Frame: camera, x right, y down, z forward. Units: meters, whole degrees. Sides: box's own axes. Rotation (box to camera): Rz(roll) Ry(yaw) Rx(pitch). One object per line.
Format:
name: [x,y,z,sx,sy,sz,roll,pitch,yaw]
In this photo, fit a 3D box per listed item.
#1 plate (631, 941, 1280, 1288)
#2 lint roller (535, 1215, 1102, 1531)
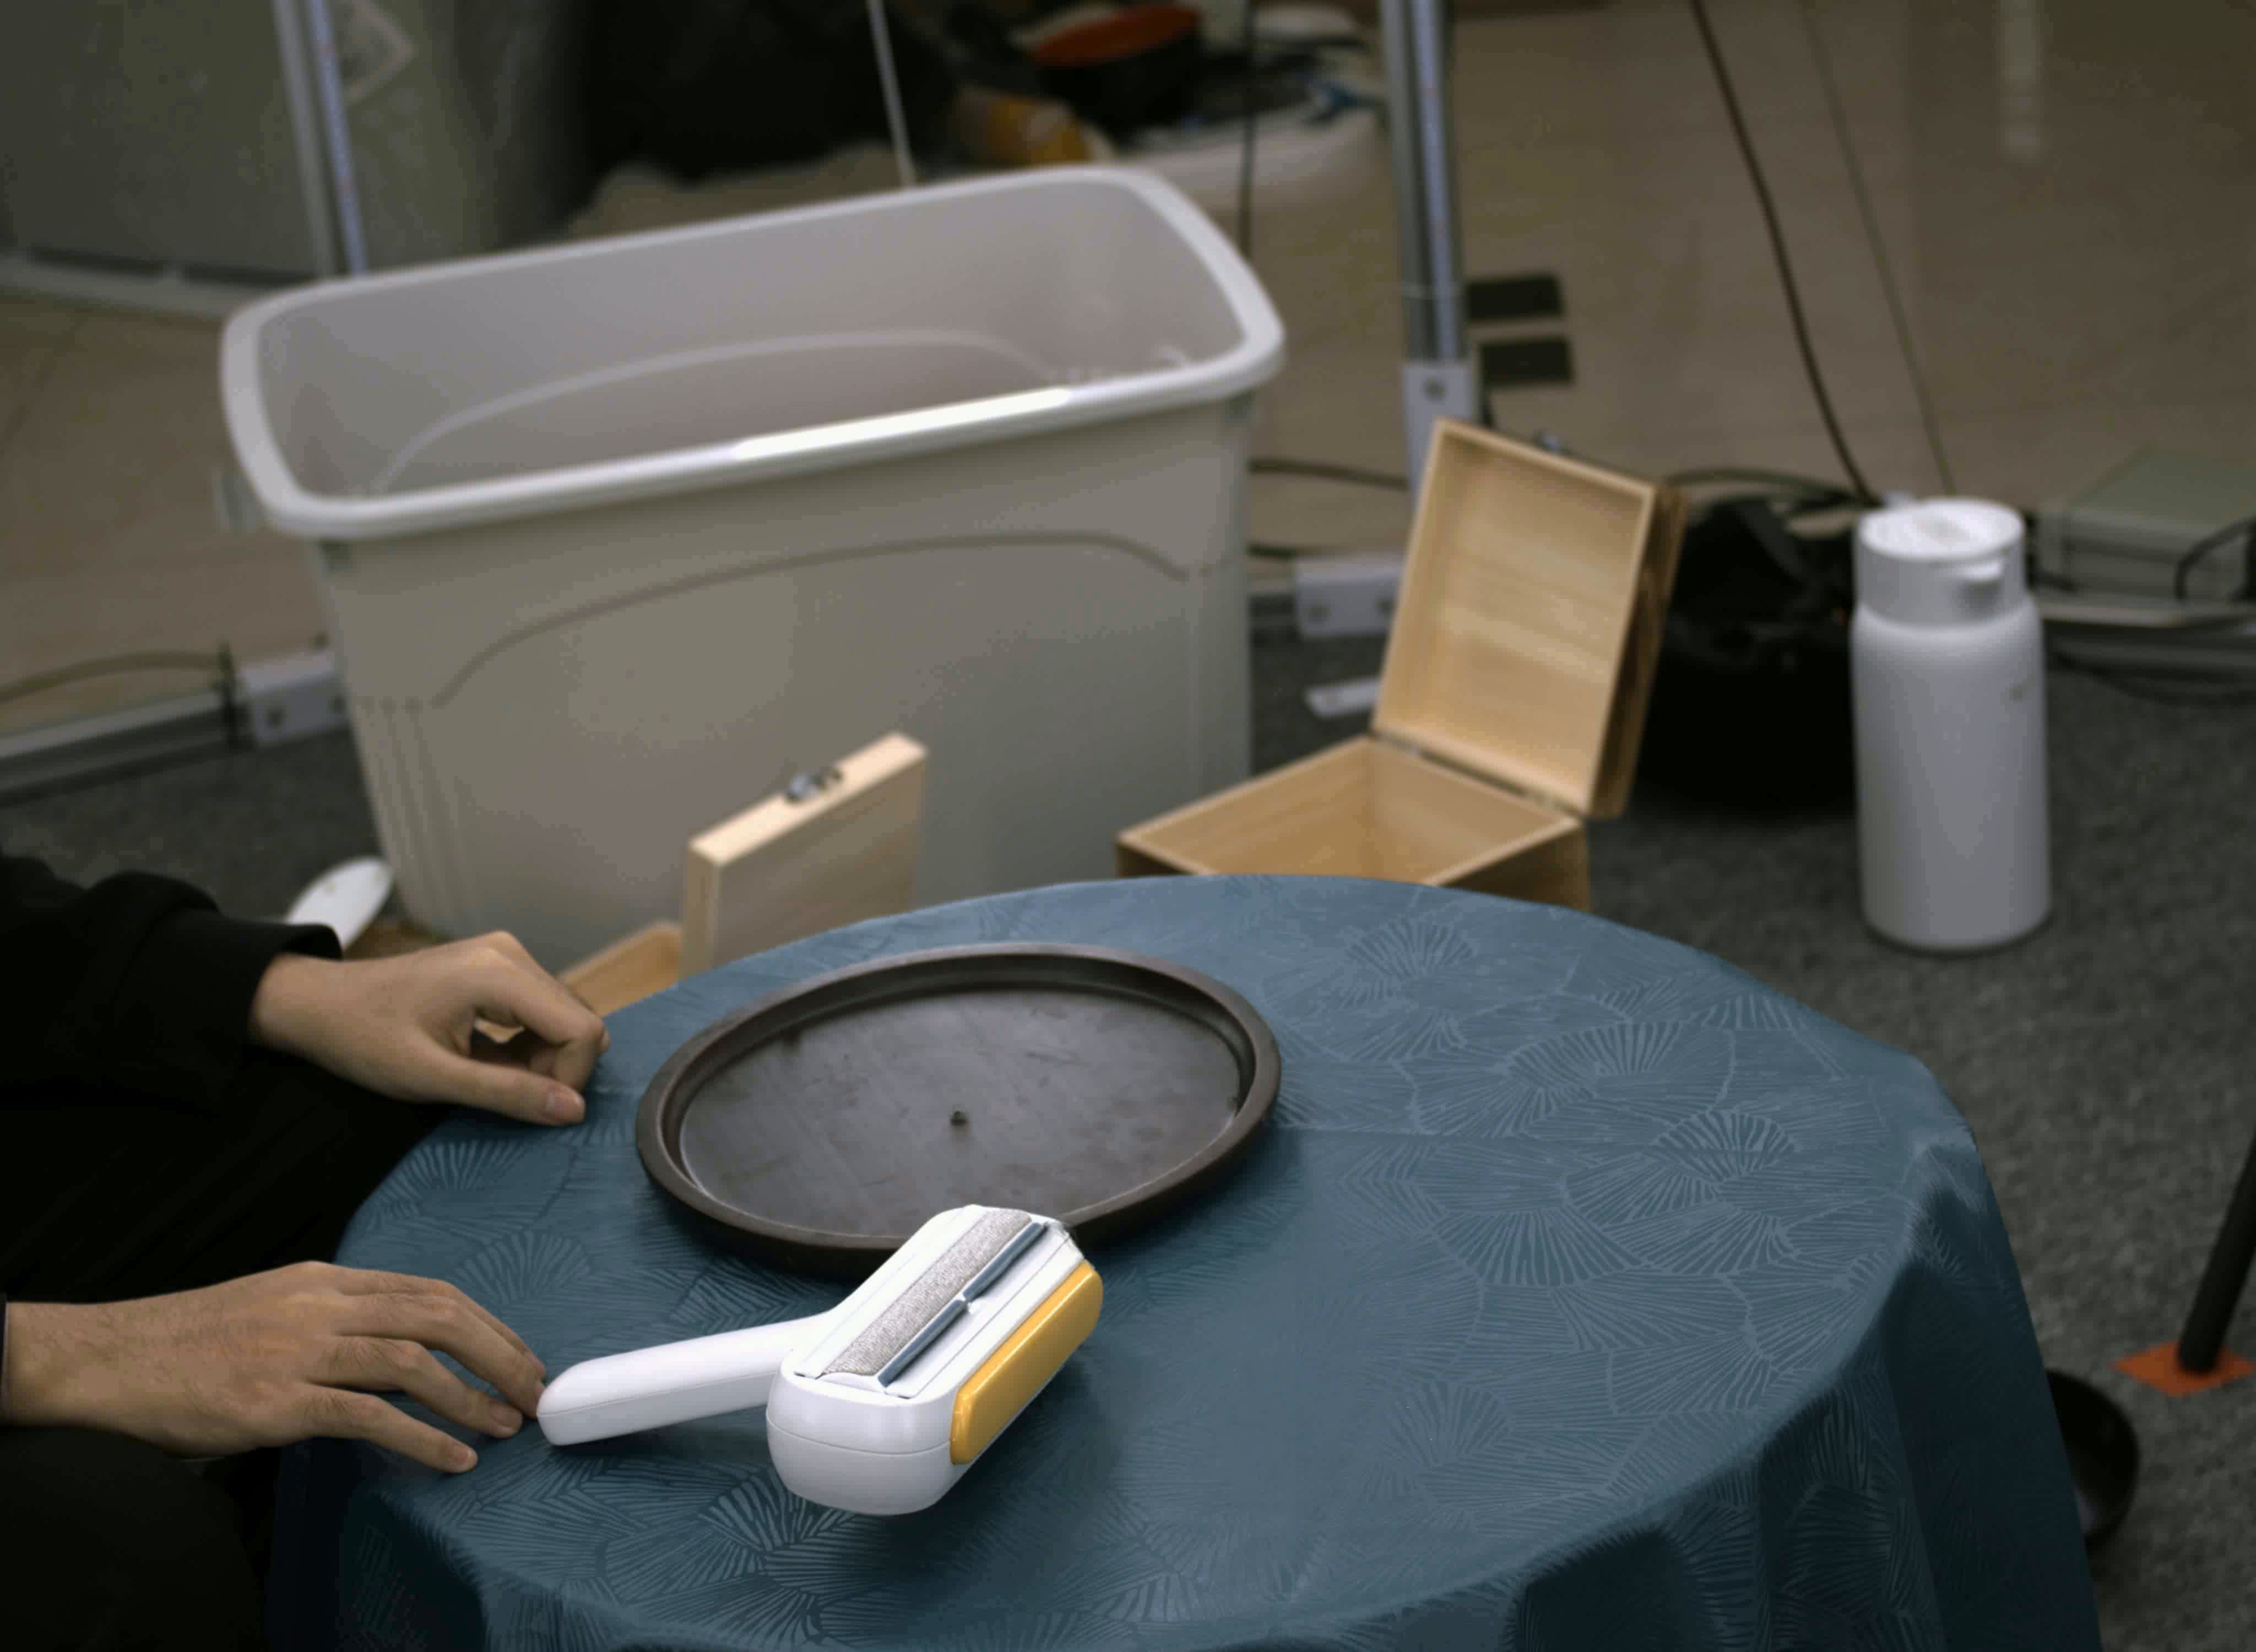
plate: [-0.066,0.110,2.195,0.254,0.029,0.251,-6,25,3]
lint roller: [-0.122,0.190,1.985,0.192,0.075,0.191,3,21,22]
